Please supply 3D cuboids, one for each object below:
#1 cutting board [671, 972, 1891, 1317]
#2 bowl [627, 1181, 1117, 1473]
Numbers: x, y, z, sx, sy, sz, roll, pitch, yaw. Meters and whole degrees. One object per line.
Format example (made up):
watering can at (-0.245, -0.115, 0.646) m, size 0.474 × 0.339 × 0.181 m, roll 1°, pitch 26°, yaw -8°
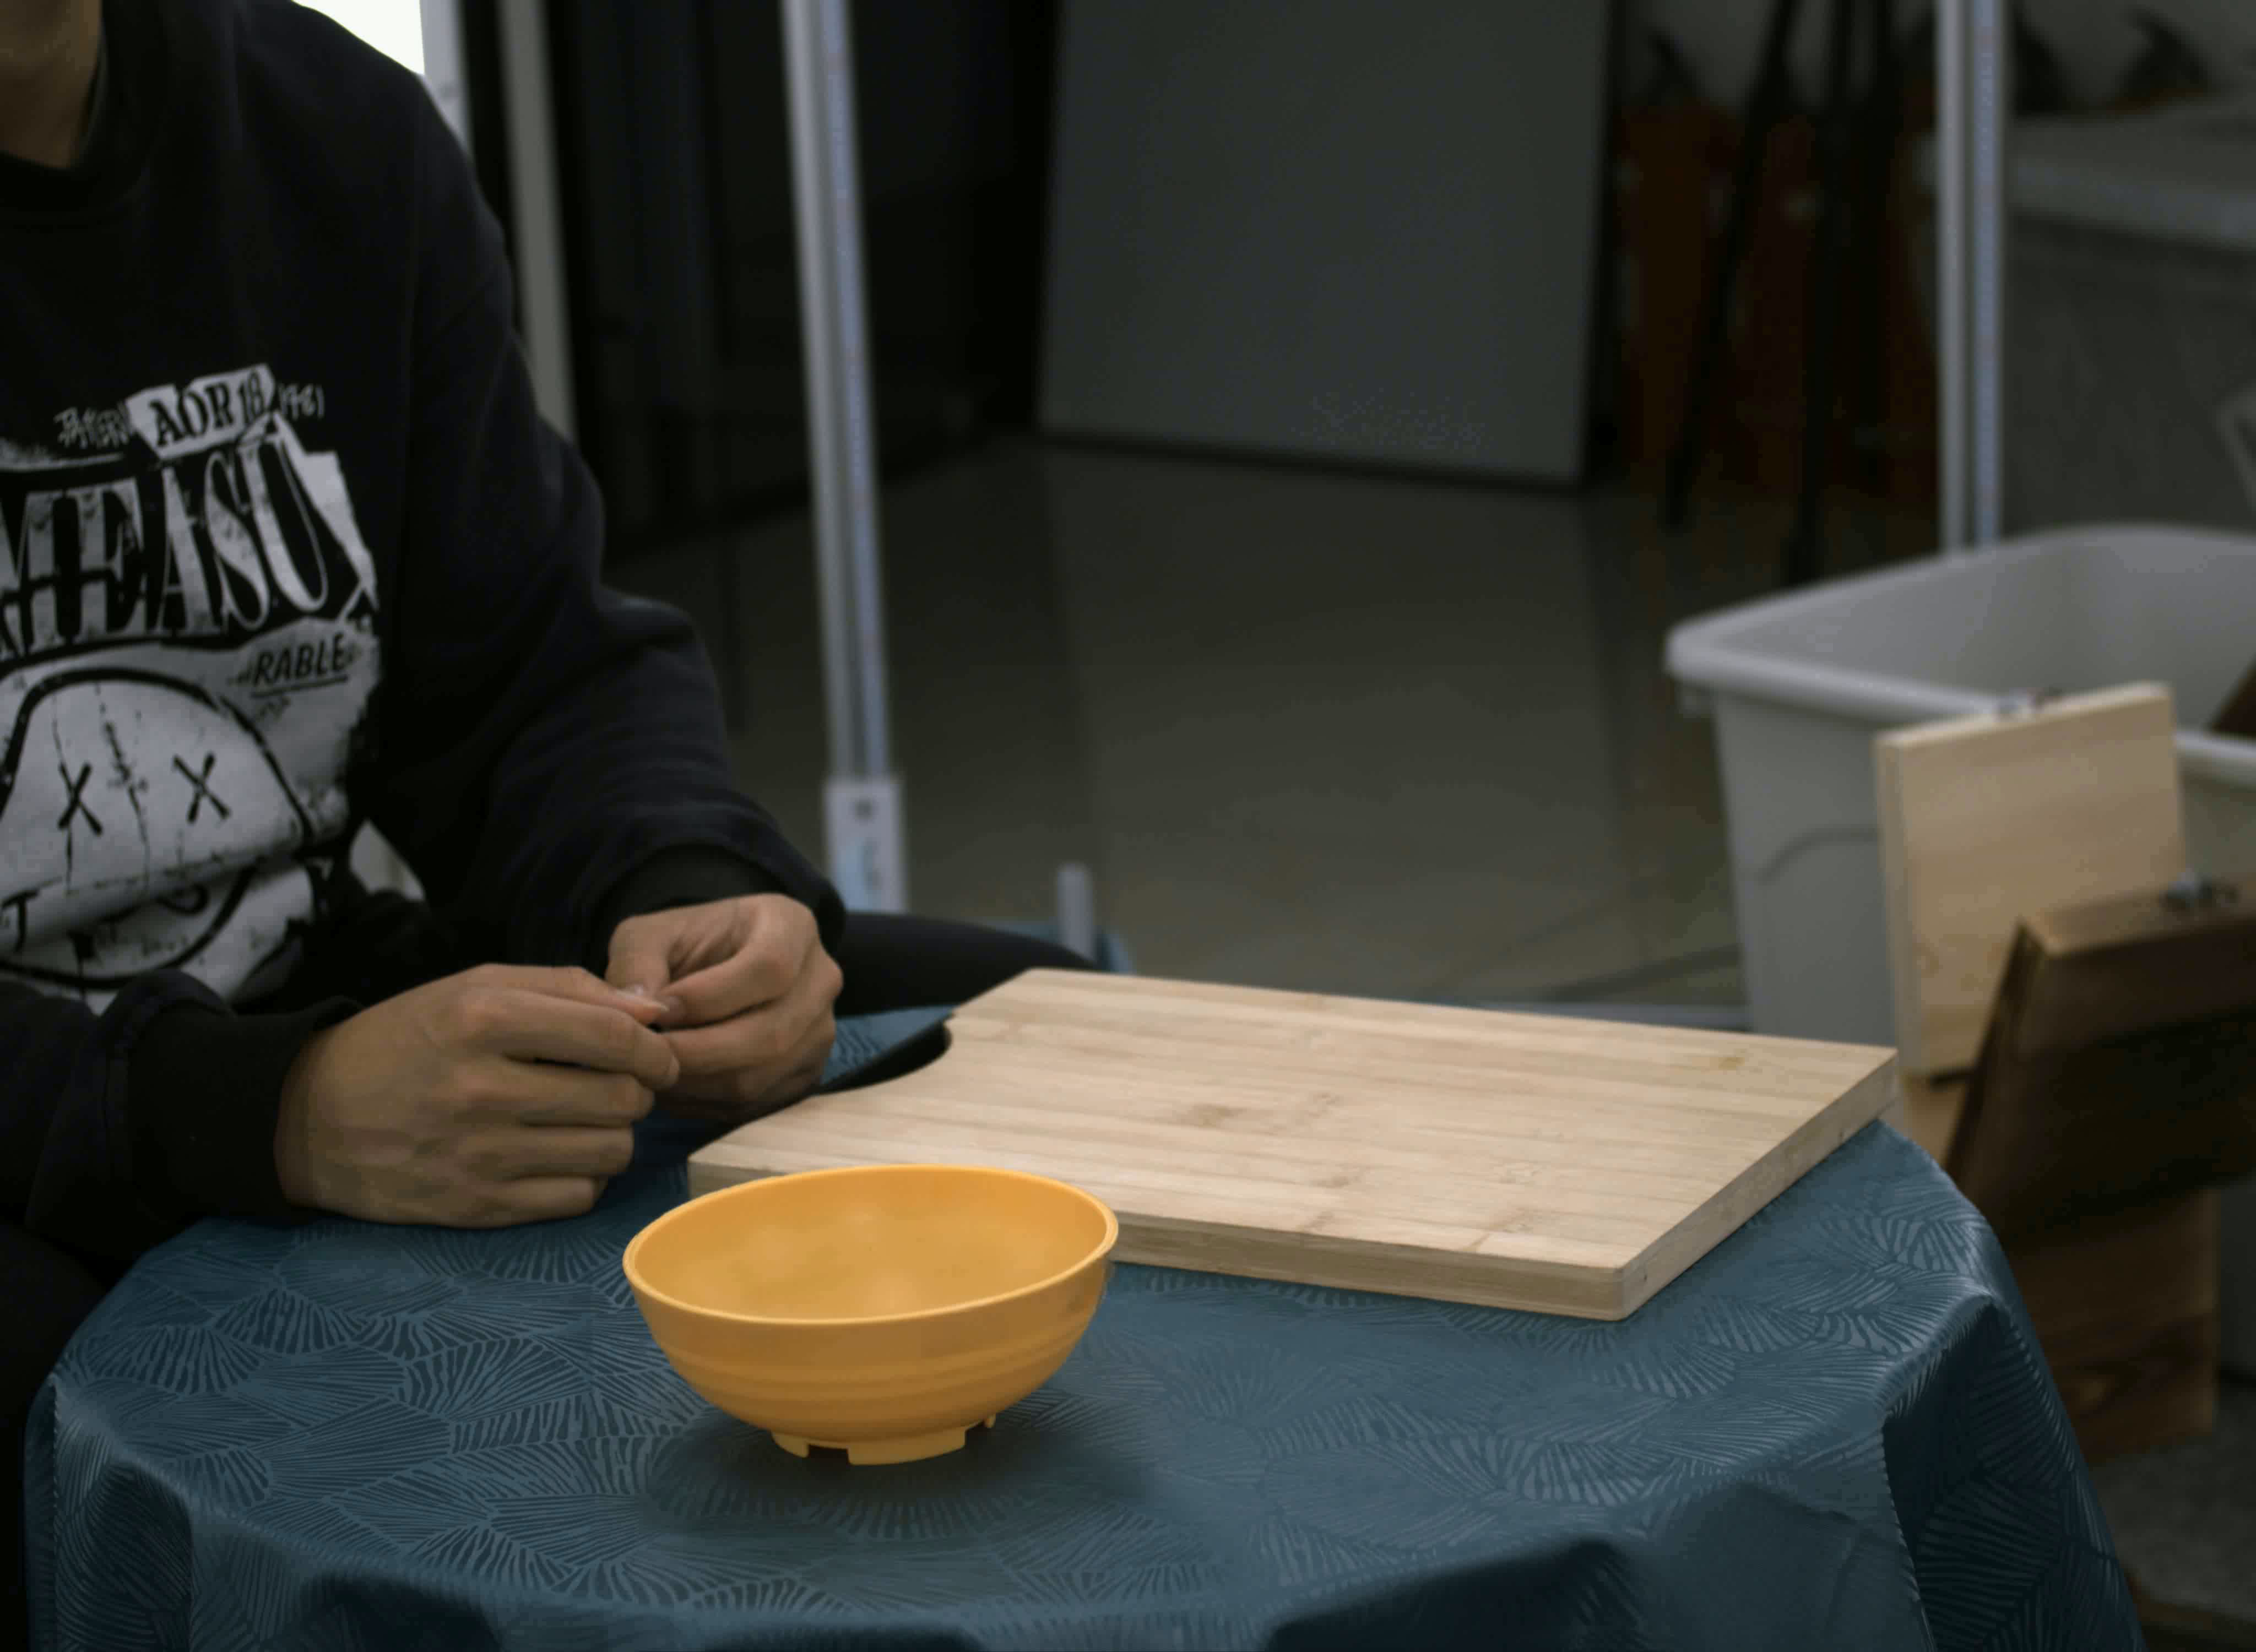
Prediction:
cutting board at (0.053, 0.102, 1.800) m, size 0.350 × 0.024 × 0.247 m, roll 3°, pitch 16°, yaw 29°
bowl at (-0.073, 0.149, 1.563) m, size 0.143 × 0.061 × 0.145 m, roll -3°, pitch 11°, yaw 0°
